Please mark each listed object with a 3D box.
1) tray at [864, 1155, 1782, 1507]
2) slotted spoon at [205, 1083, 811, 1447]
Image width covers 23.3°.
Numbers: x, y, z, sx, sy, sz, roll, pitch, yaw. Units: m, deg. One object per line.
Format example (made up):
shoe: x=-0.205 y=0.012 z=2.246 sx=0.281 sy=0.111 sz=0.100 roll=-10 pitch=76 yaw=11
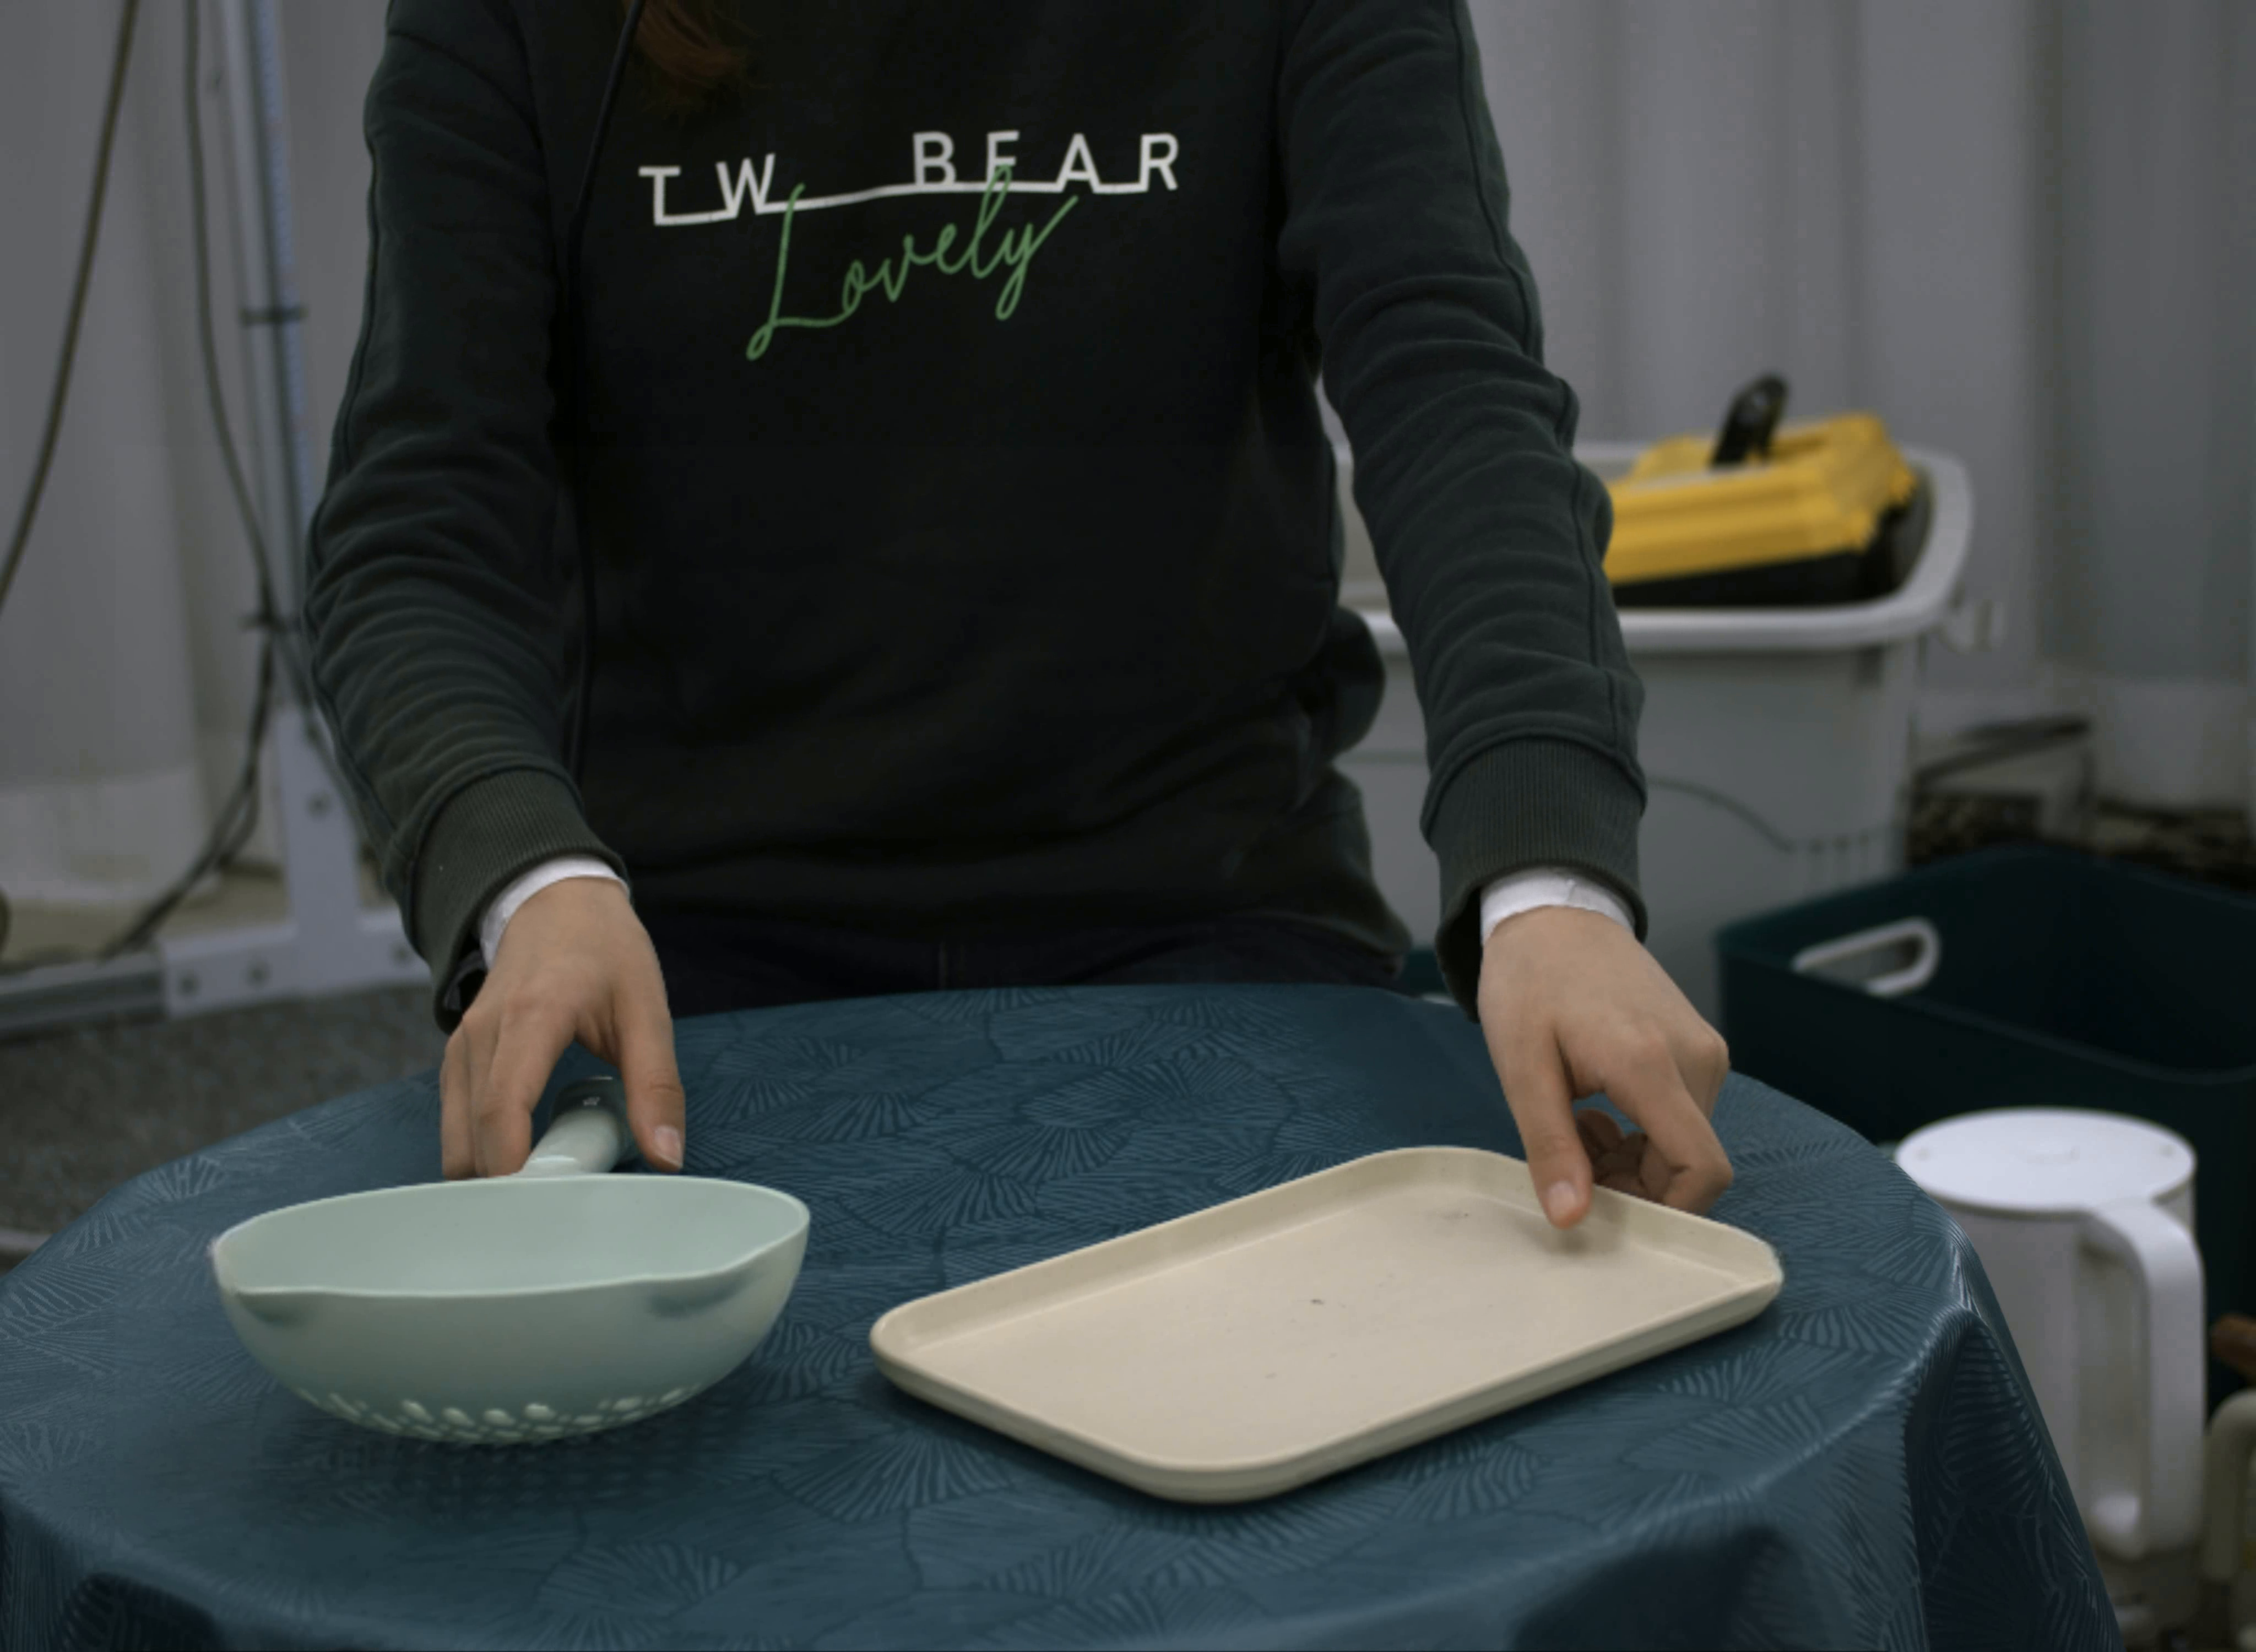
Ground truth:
tray: x=0.057 y=0.143 z=1.567 sx=0.239 sy=0.017 sz=0.172 roll=-14 pitch=19 yaw=-38
slotted spoon: x=-0.171 y=0.114 z=1.627 sx=0.169 sy=0.075 sz=0.361 roll=-2 pitch=14 yaw=1
